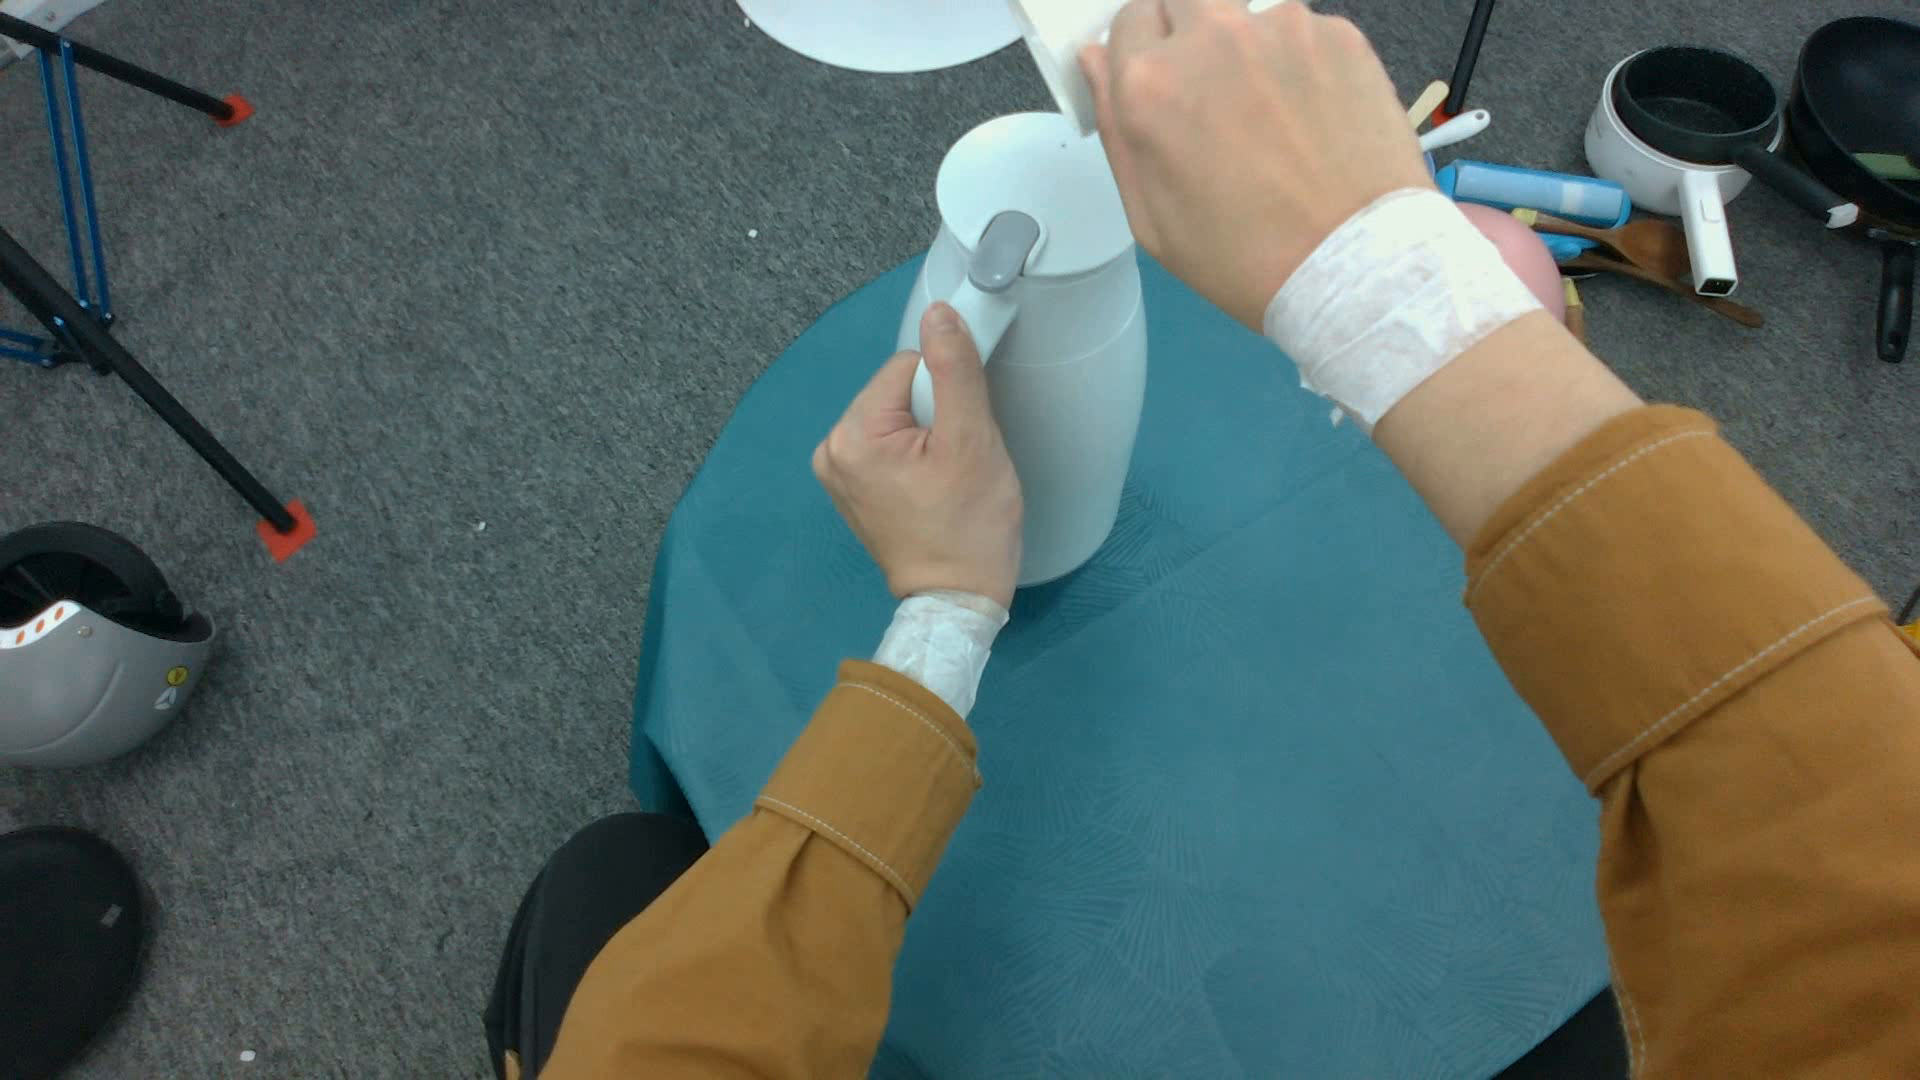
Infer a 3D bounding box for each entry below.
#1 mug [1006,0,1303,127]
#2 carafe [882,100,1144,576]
[{"bbox_3d":[0.072,-0.199,0.476,0.102,0.085,0.118,-28,44,6],"label":"mug"},{"bbox_3d":[0.020,-0.082,0.675,0.132,0.247,0.168,26,63,11],"label":"carafe"}]
